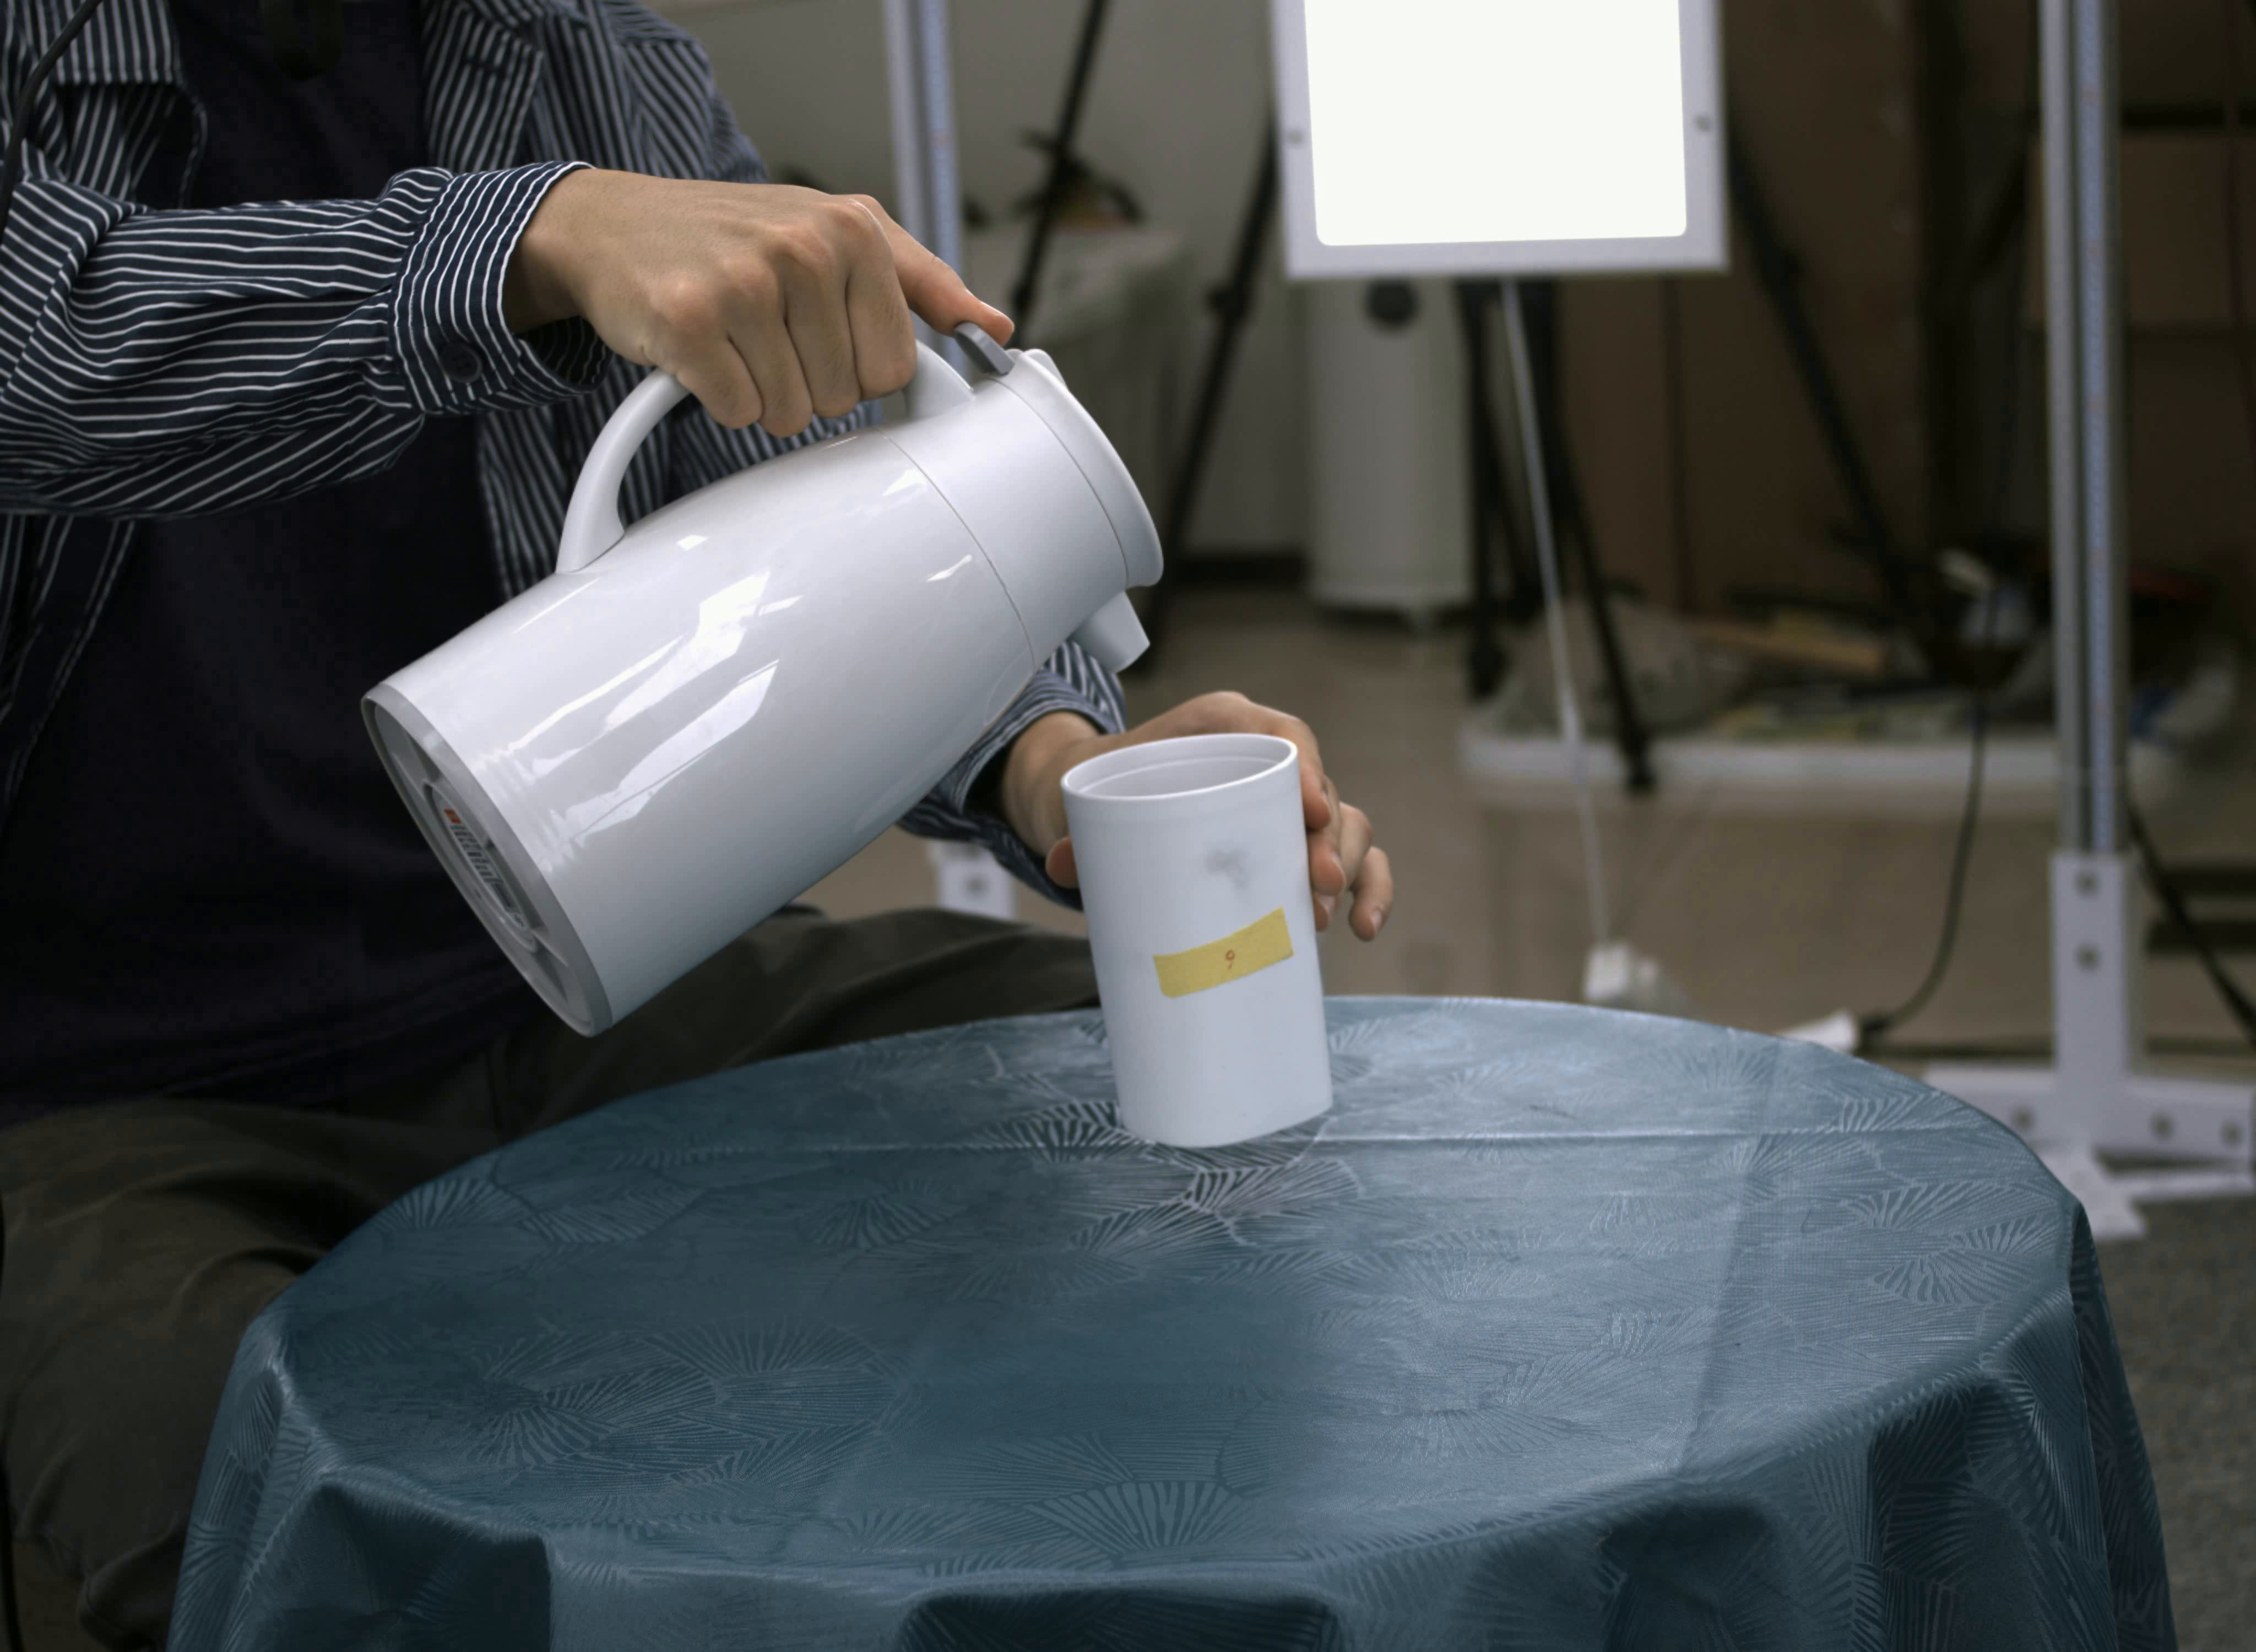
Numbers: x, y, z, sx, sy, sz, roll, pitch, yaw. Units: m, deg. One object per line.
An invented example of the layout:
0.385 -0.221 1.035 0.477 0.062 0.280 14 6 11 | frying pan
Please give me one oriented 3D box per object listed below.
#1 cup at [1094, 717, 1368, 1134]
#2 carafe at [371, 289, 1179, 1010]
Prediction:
0.038 0.034 1.855 0.081 0.126 0.081 -9 14 1 | cup
-0.113 -0.076 1.770 0.246 0.167 0.134 -32 18 -11 | carafe
